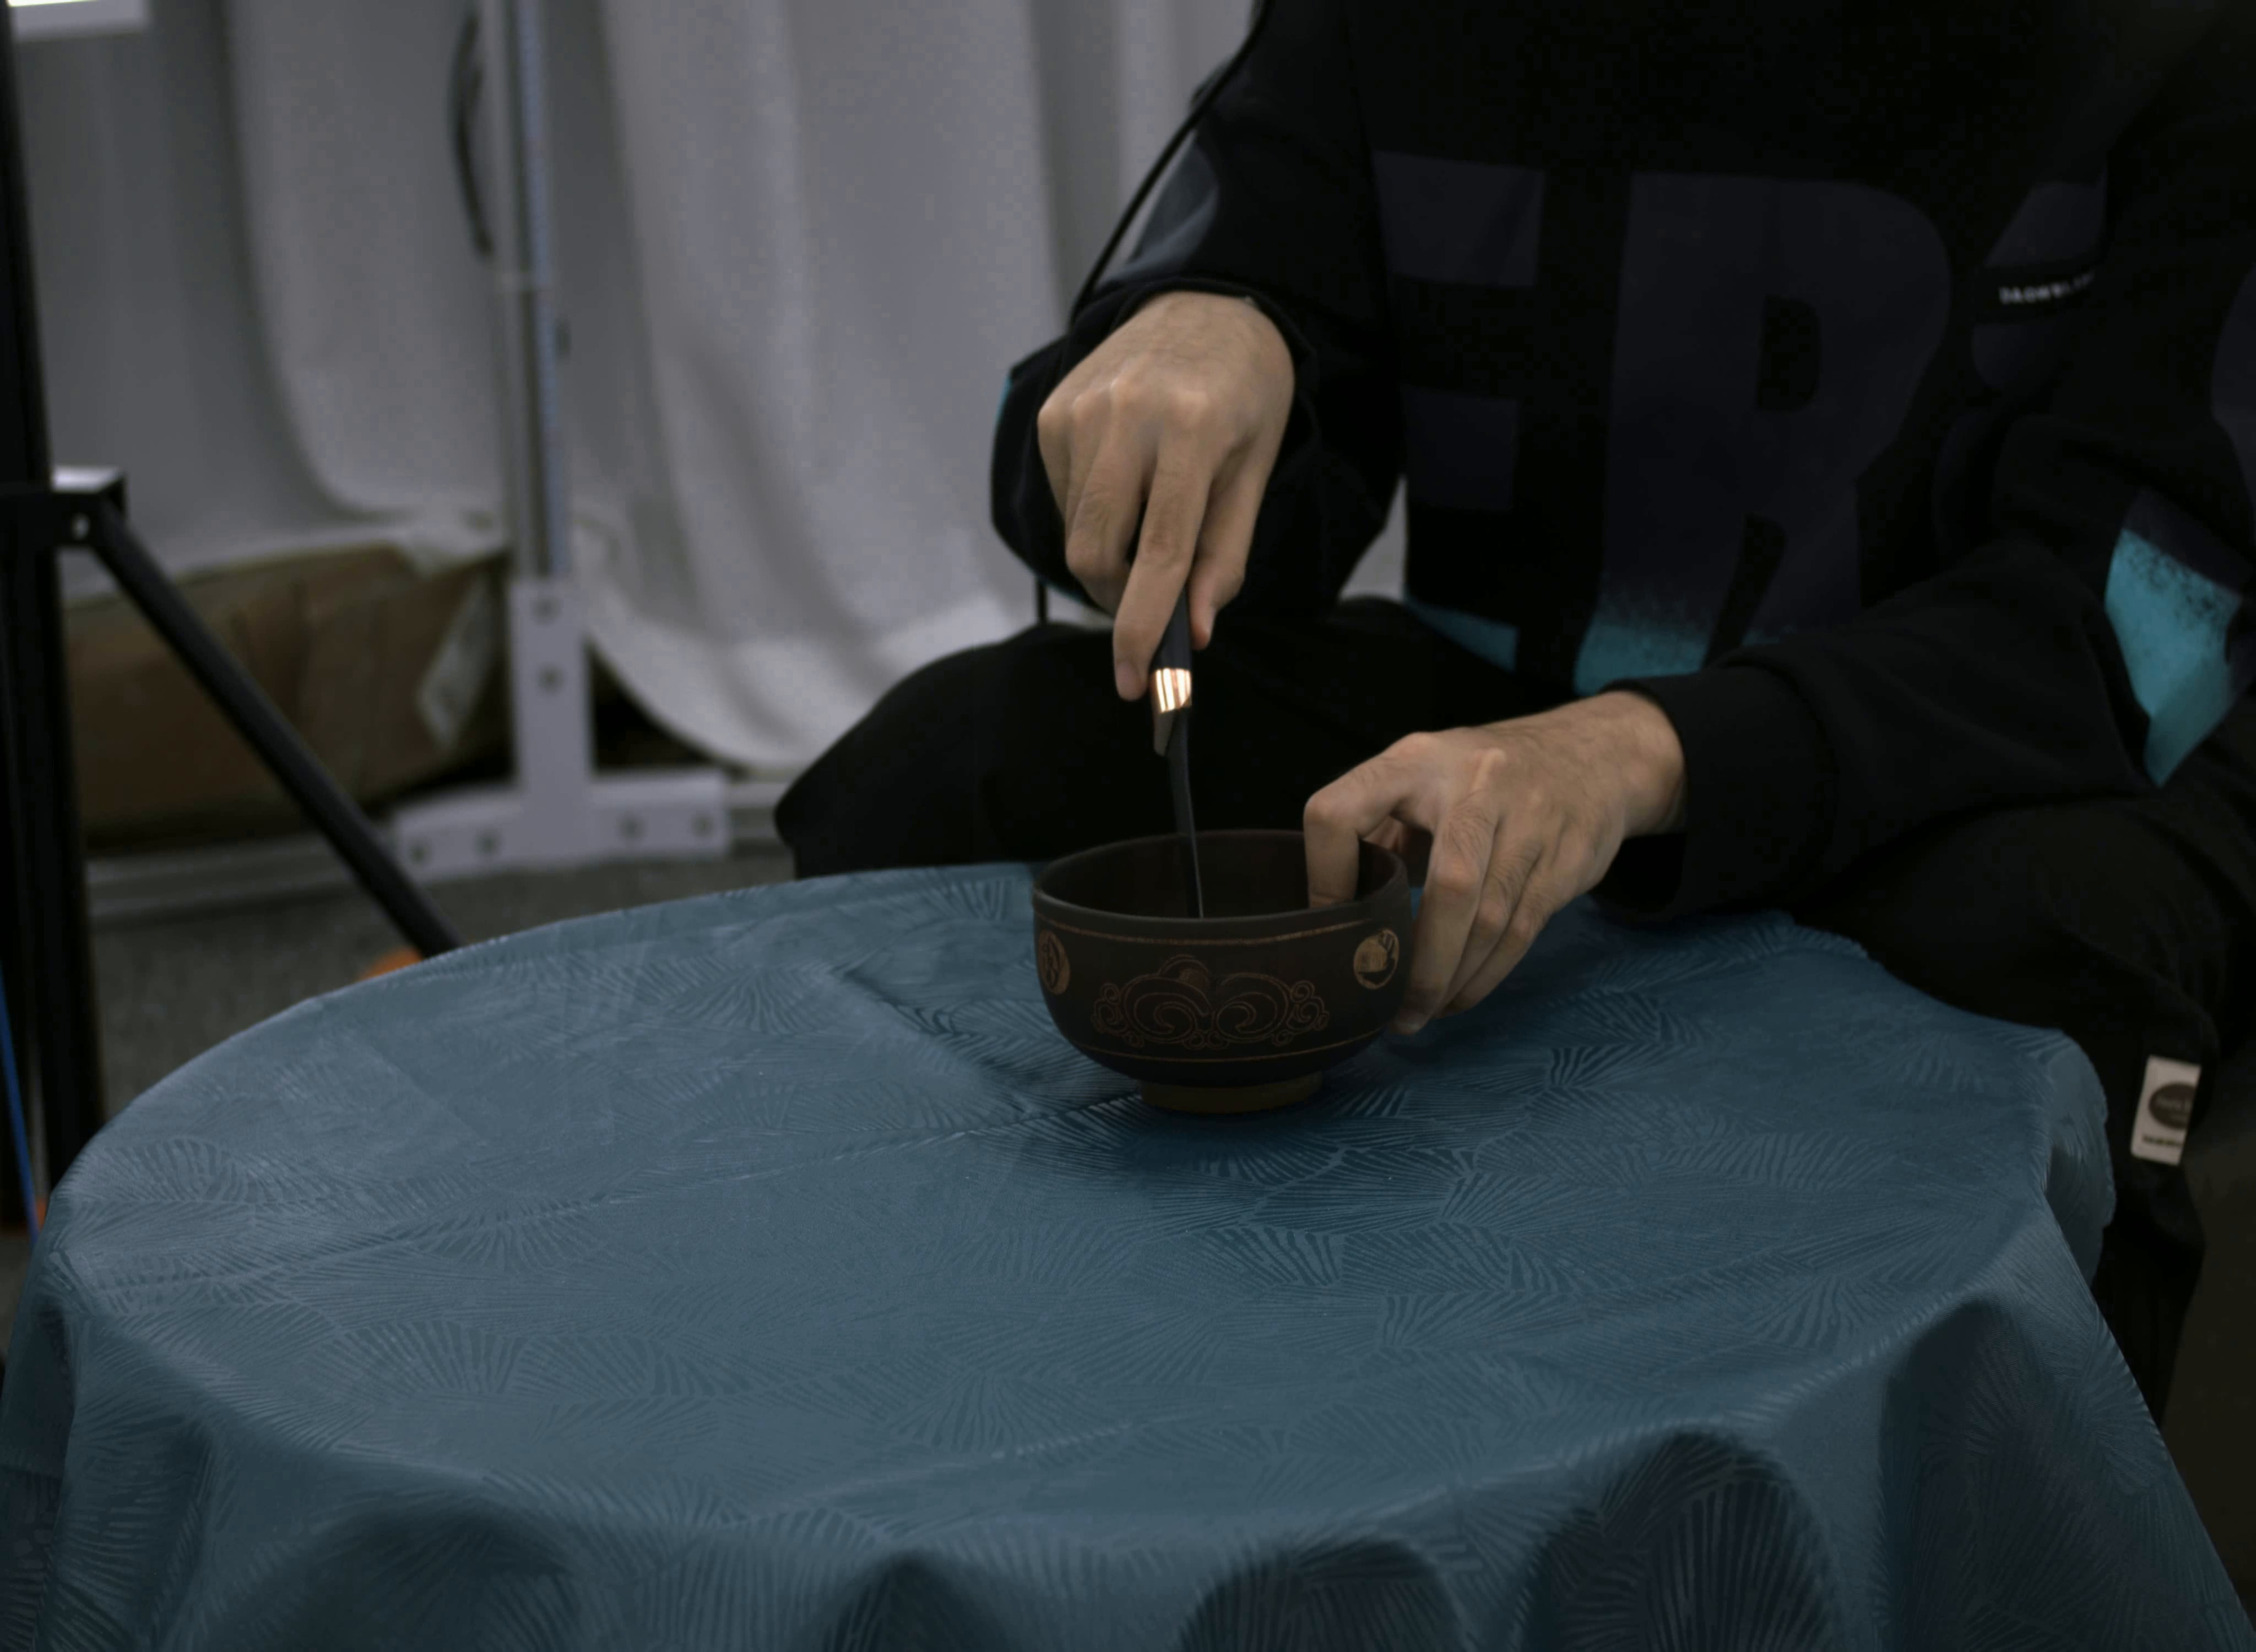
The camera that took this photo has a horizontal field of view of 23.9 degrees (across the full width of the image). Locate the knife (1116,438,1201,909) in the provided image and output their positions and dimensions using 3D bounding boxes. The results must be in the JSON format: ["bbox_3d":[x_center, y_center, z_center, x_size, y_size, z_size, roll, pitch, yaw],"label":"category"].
[{"bbox_3d":[0.014,-0.026,1.684,0.017,0.026,0.228,5,56,-18],"label":"knife"}]

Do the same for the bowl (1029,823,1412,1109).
[{"bbox_3d":[0.029,0.046,1.631,0.117,0.070,0.118,-1,14,-1],"label":"bowl"}]
